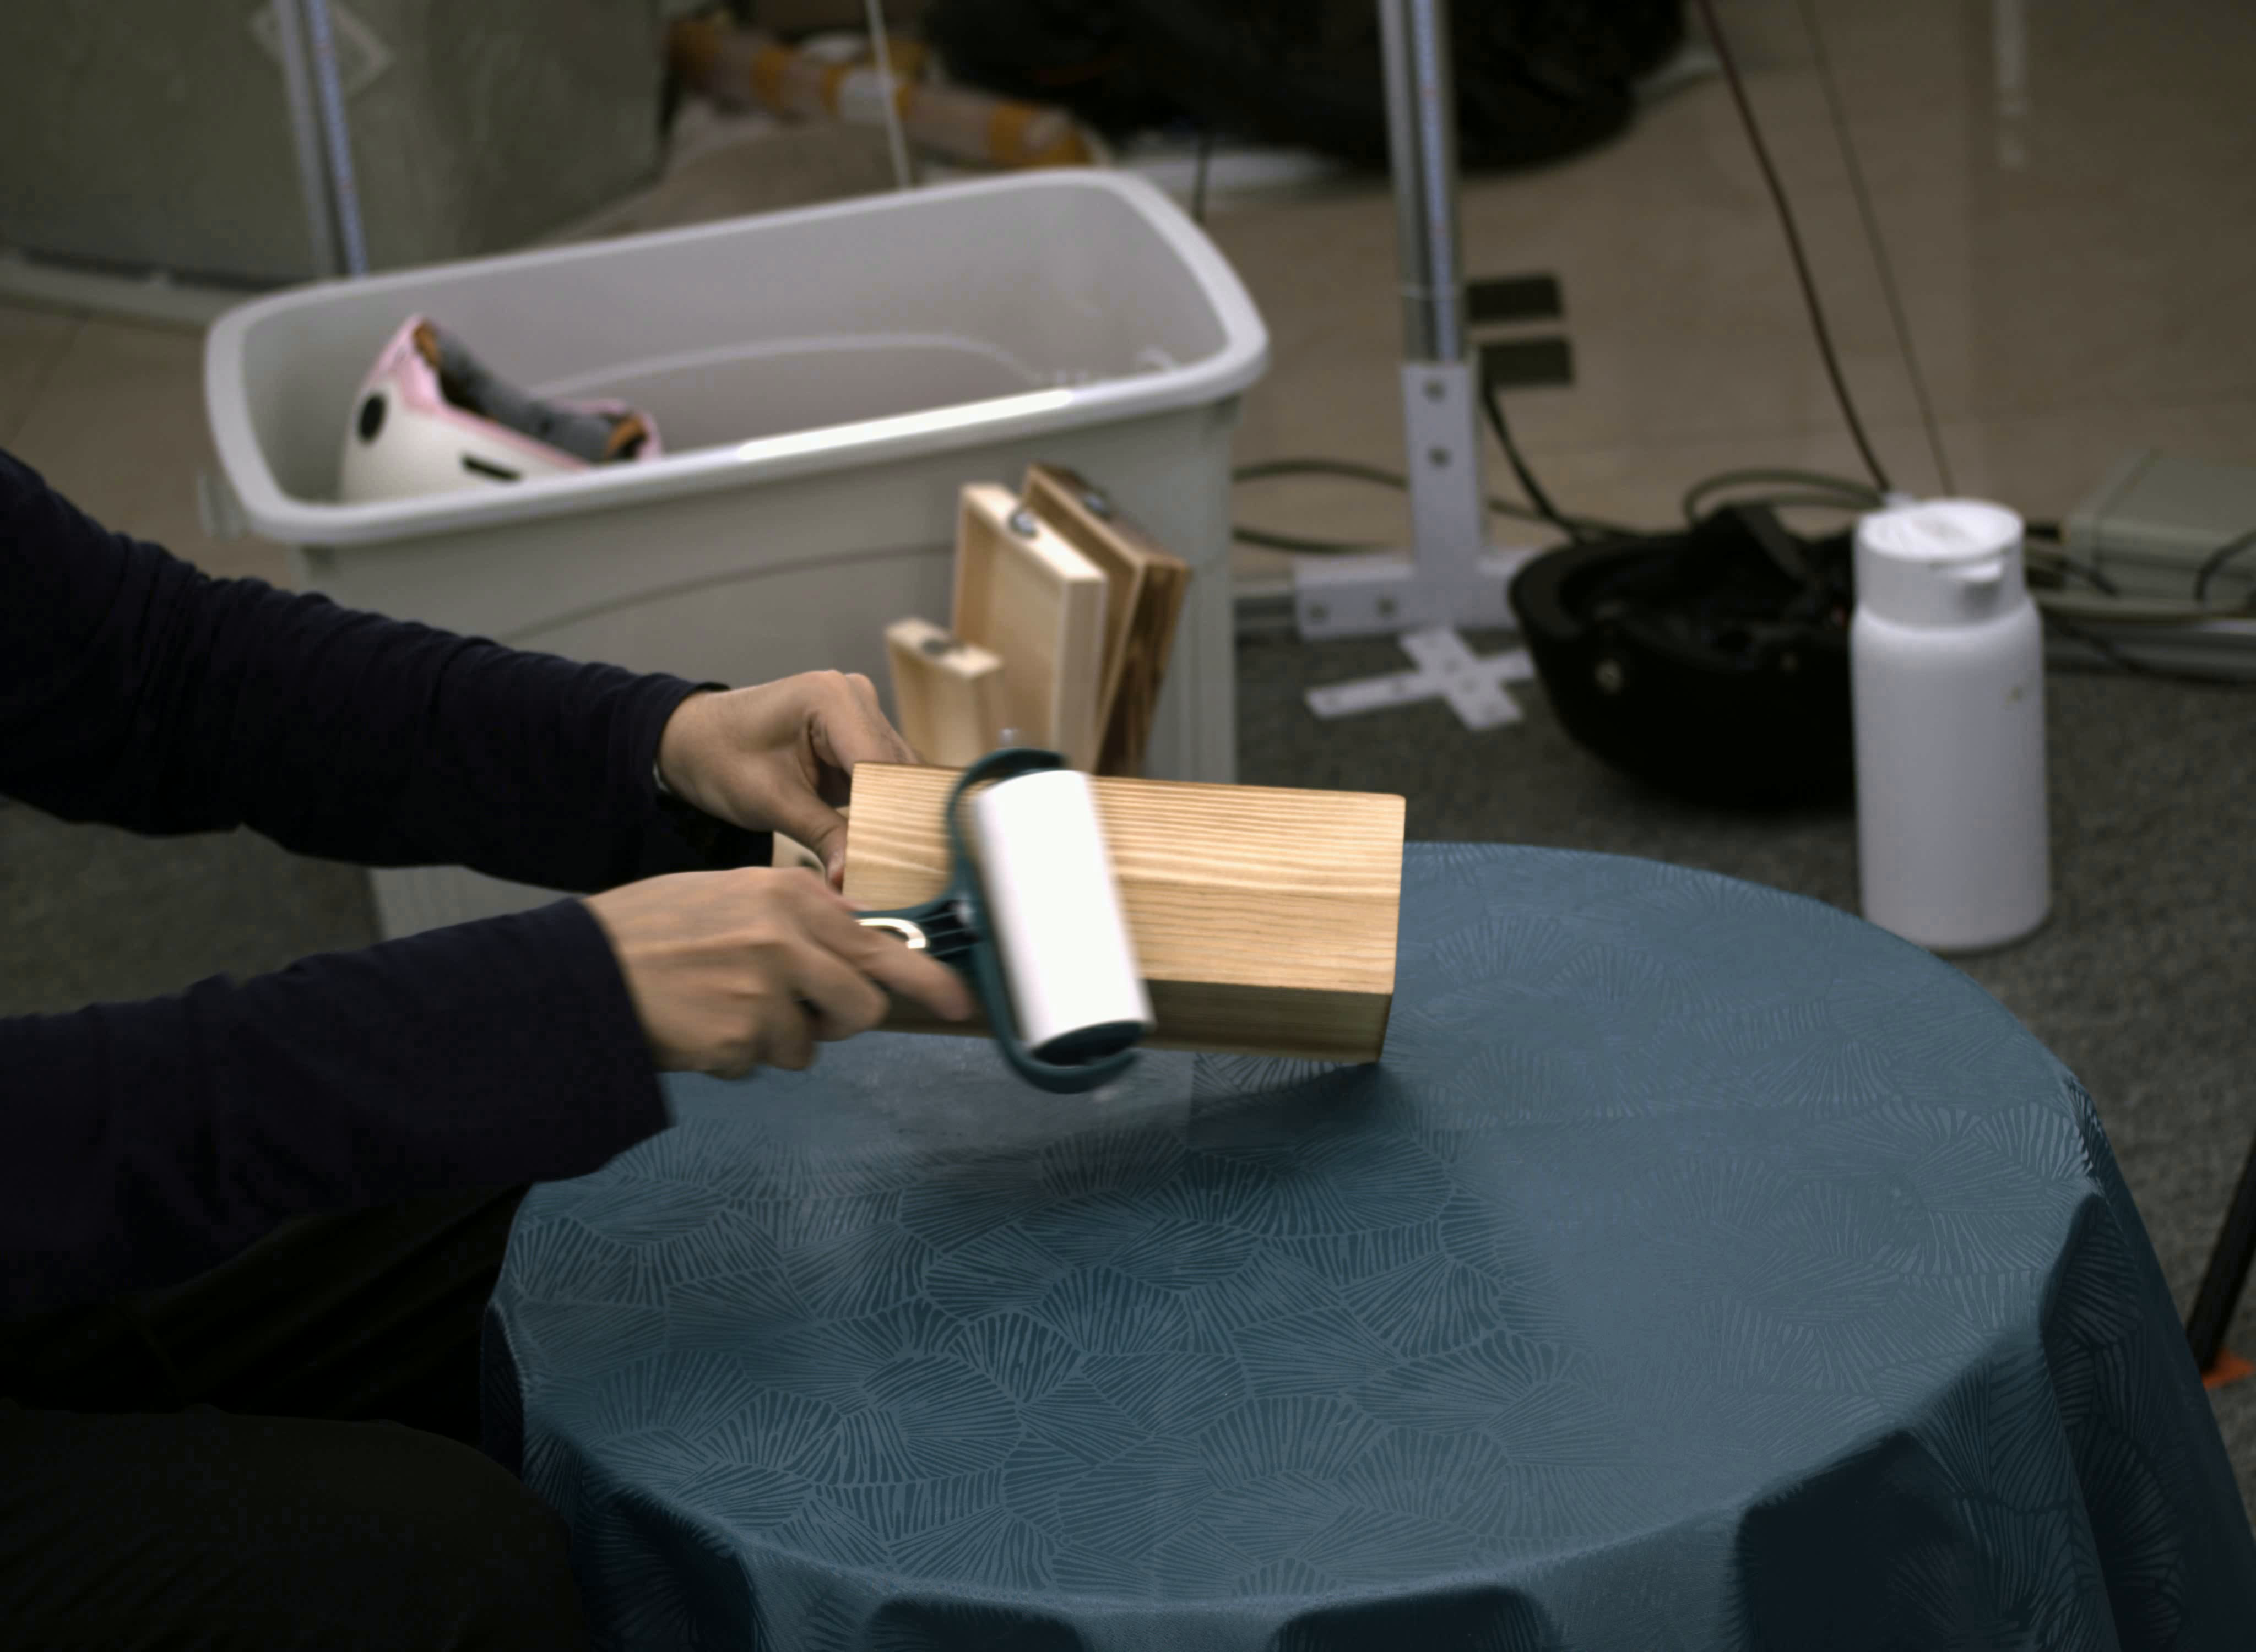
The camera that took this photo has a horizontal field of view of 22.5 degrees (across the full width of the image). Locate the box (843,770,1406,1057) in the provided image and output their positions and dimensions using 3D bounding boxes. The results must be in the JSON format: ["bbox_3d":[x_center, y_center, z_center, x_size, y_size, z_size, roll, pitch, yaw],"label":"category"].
[{"bbox_3d":[-0.002,0.035,2.187,0.211,0.079,0.108,3,-16,0],"label":"box"}]

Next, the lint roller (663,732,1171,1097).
[{"bbox_3d":[-0.082,0.045,2.091,0.179,0.133,0.049,-10,-16,-15],"label":"lint roller"}]
